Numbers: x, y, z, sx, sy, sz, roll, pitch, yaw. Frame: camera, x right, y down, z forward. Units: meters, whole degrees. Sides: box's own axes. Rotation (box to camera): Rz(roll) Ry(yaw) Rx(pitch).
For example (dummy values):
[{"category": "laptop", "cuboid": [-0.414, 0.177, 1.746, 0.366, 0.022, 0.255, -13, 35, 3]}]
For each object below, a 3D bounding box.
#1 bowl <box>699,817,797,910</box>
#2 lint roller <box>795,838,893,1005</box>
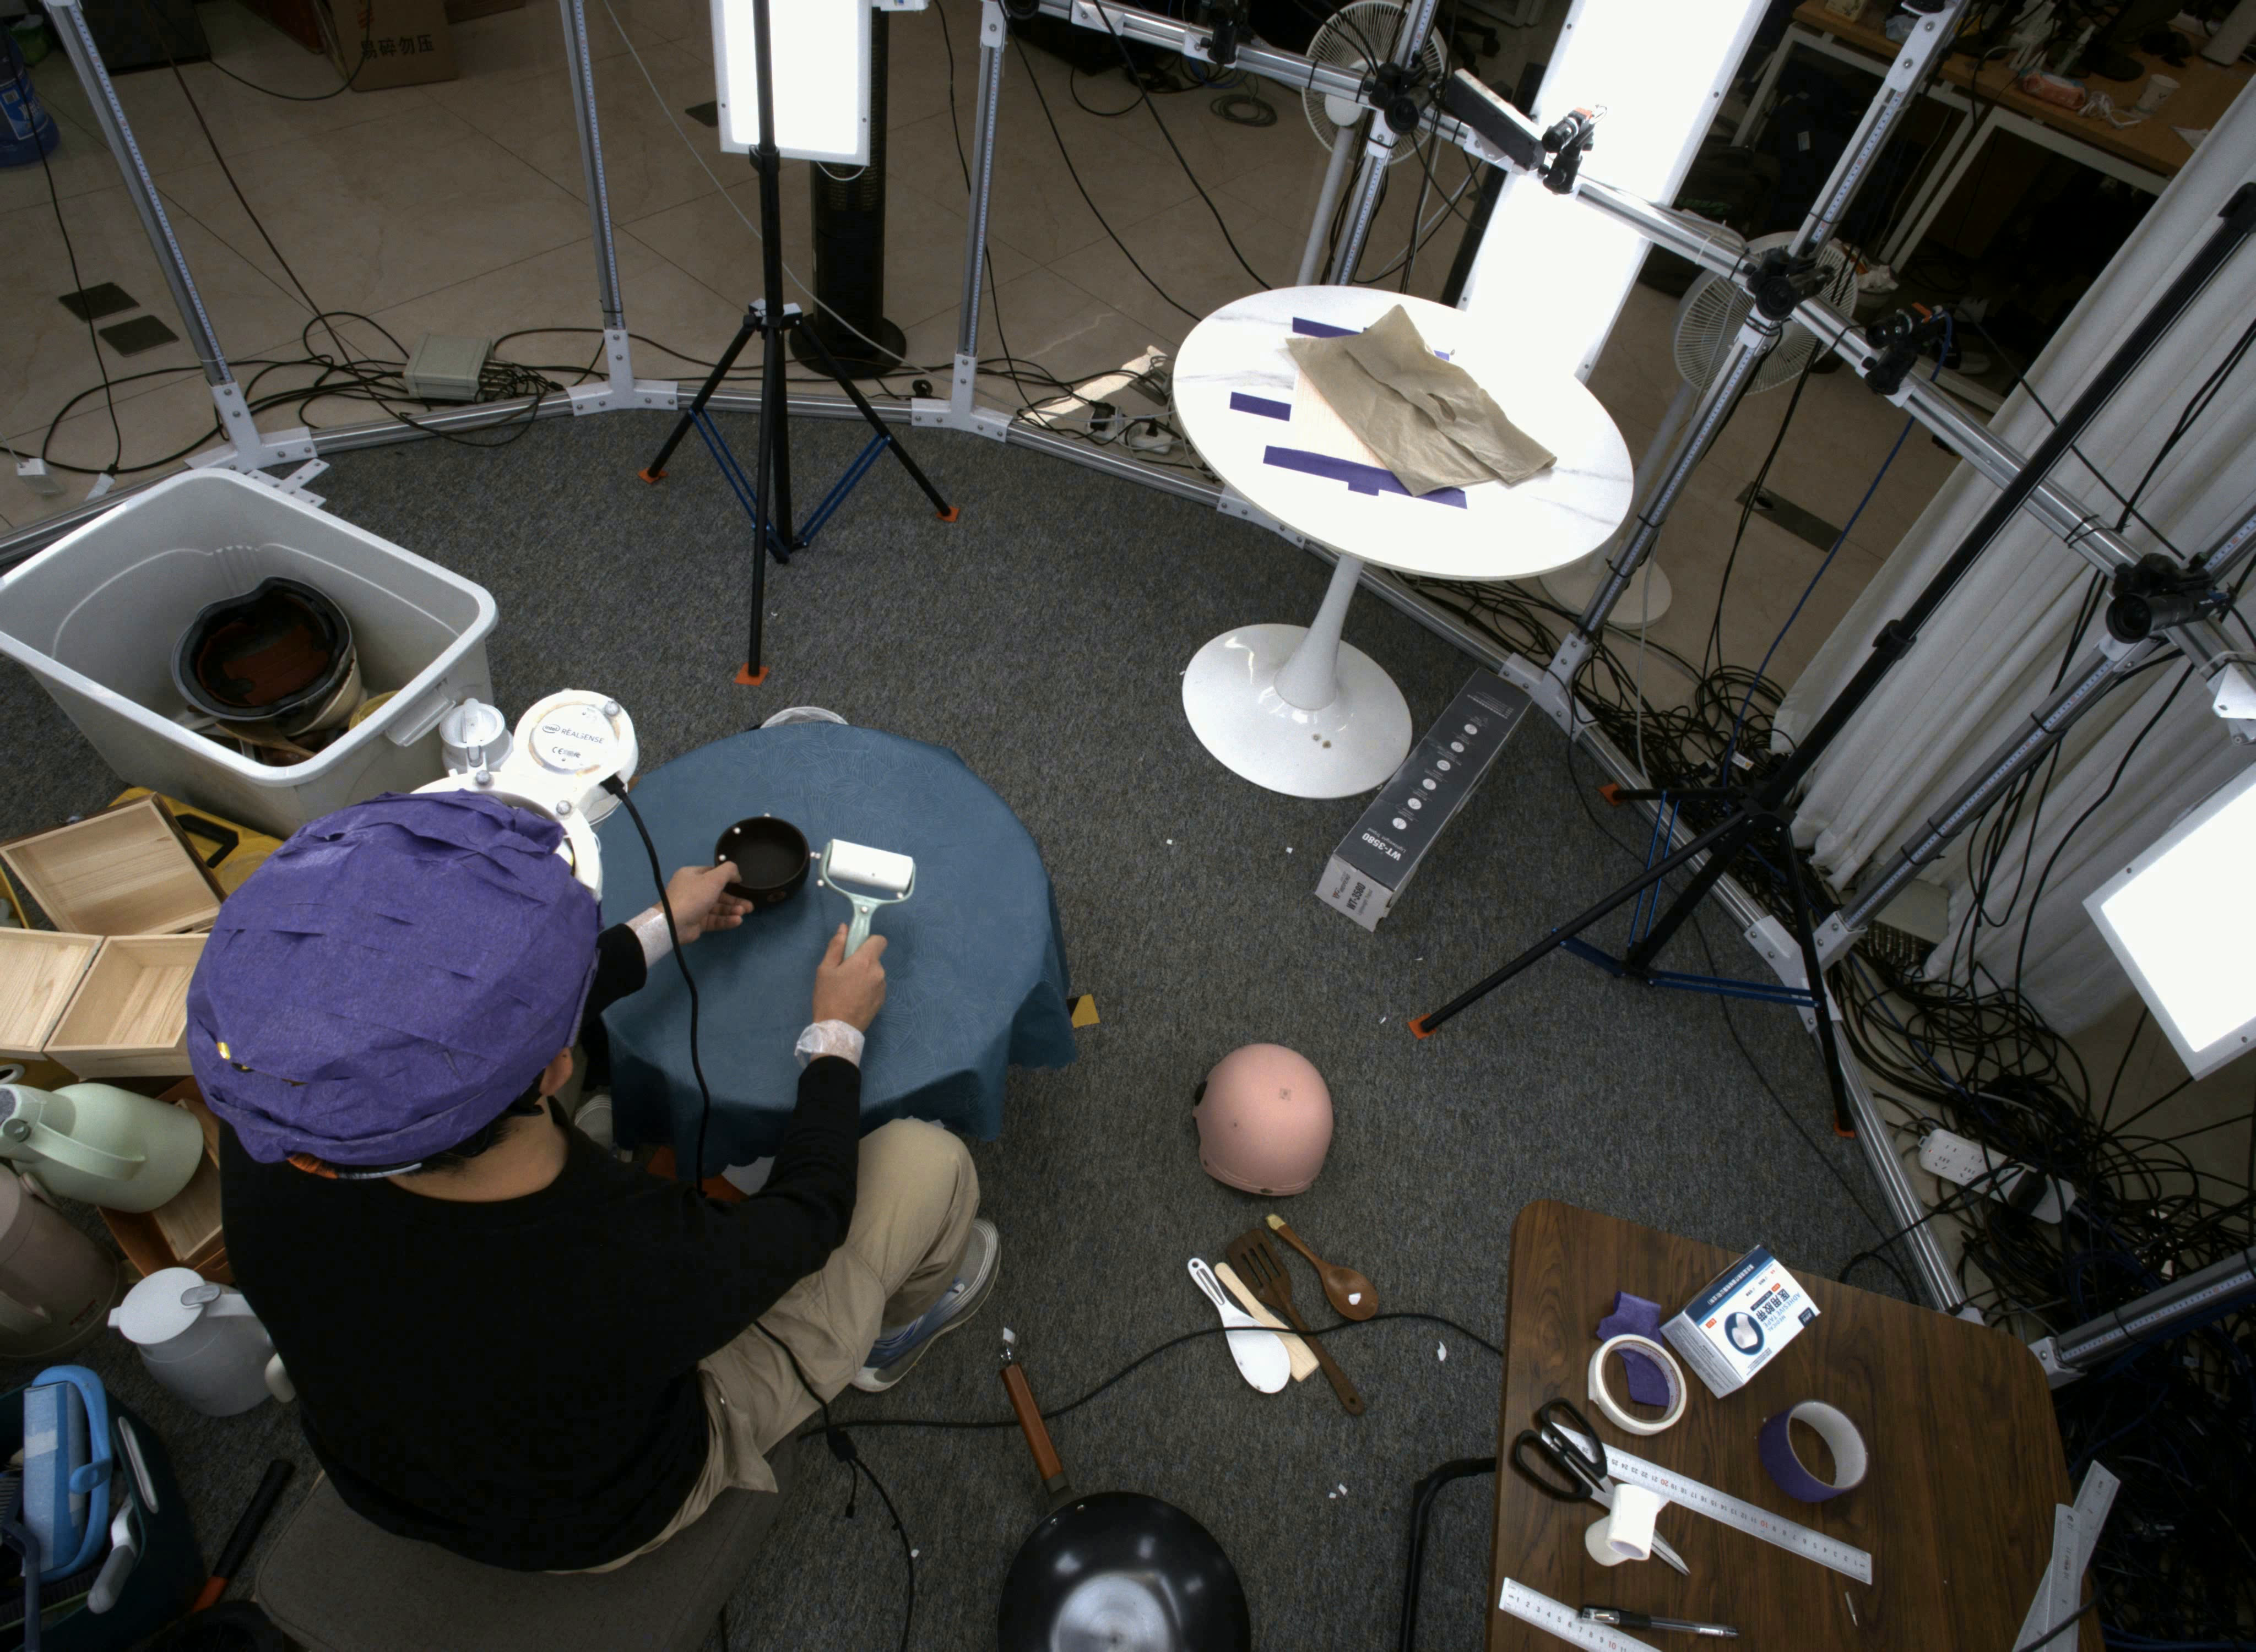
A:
[{"category": "bowl", "cuboid": [-0.474, 0.053, 1.619, 0.118, 0.071, 0.116, 8, 53, -9]}, {"category": "lint roller", "cuboid": [-0.347, 0.112, 1.555, 0.118, 0.048, 0.195, 13, 63, -24]}]
